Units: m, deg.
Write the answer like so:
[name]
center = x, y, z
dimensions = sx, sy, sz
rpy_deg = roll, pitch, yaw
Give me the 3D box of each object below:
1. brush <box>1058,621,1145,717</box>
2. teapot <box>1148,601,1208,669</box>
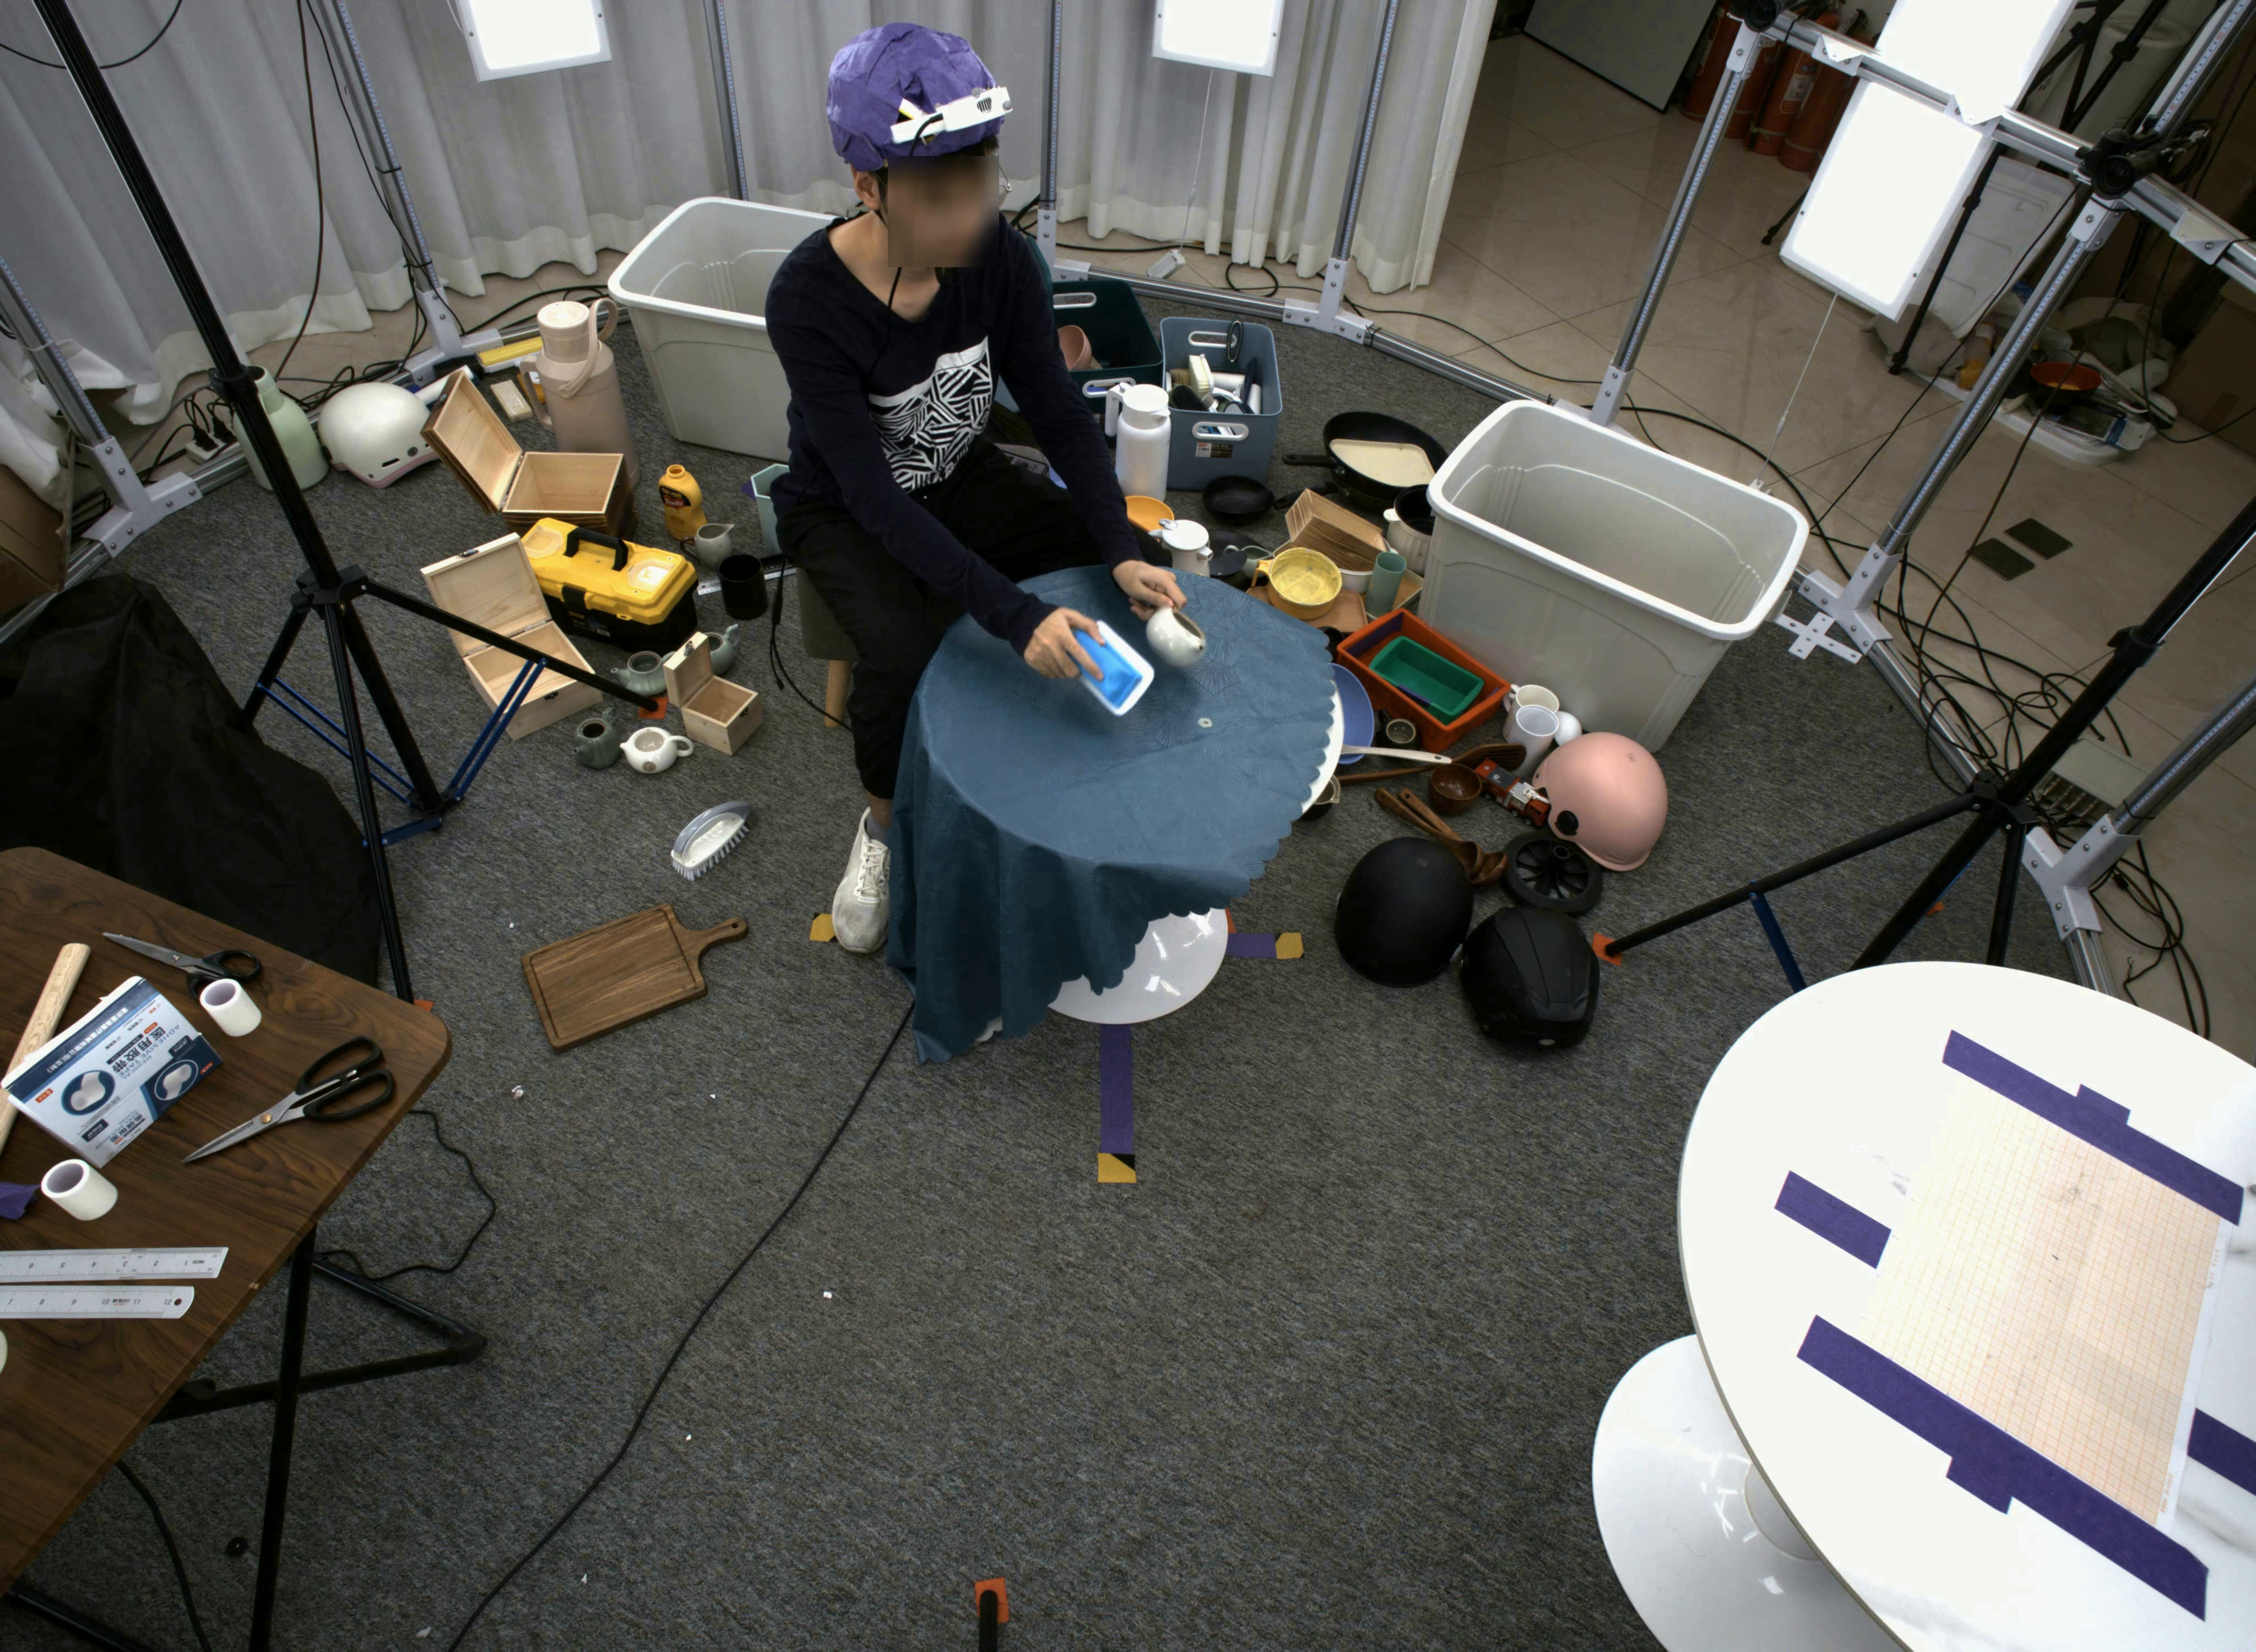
[brush]
center = -0.043, -0.219, 1.750
dimensions = 0.083, 0.055, 0.147
rpy_deg = -47, 57, 12
[teapot]
center = 0.067, -0.271, 1.826
dimensions = 0.091, 0.059, 0.131
rpy_deg = 16, 35, -41
